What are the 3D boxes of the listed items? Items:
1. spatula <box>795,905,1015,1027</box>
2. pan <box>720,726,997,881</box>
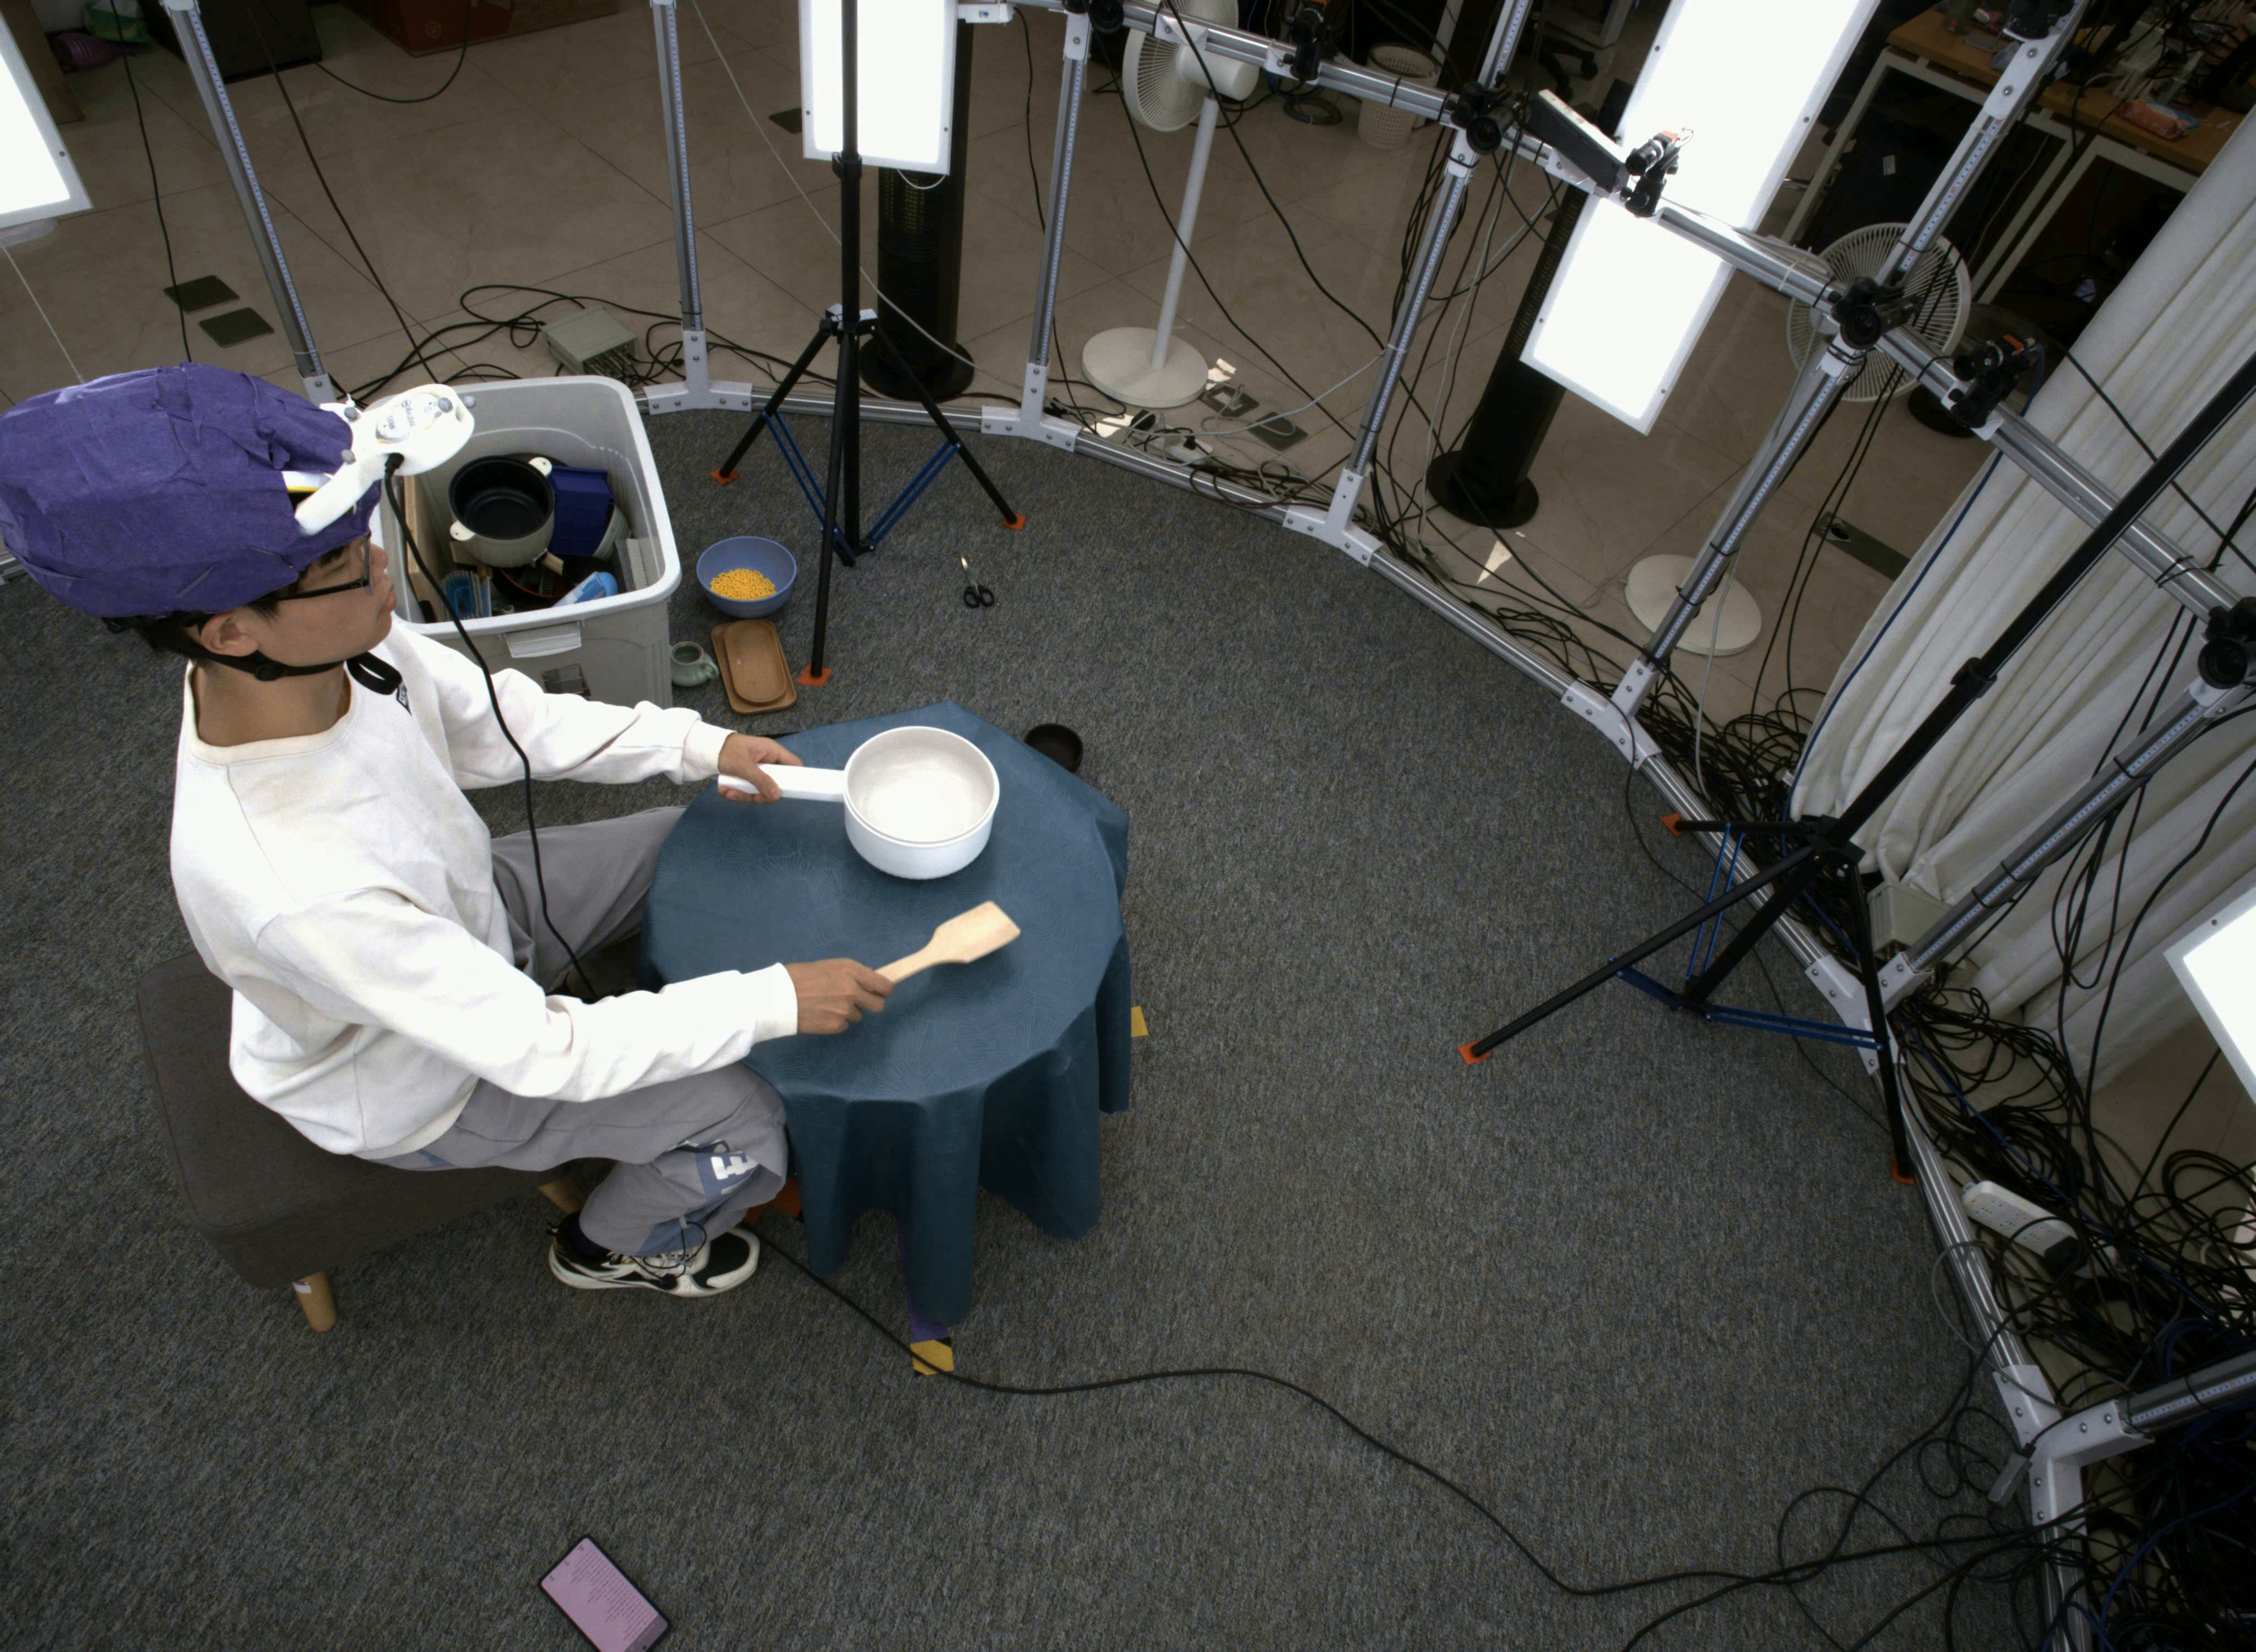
[{"bbox_3d":[-0.271,0.172,1.579,0.295,0.011,0.070,-25,53,-34],"label":"spatula"},{"bbox_3d":[-0.351,-0.031,1.709,0.354,0.104,0.197,4,53,-10],"label":"pan"}]
